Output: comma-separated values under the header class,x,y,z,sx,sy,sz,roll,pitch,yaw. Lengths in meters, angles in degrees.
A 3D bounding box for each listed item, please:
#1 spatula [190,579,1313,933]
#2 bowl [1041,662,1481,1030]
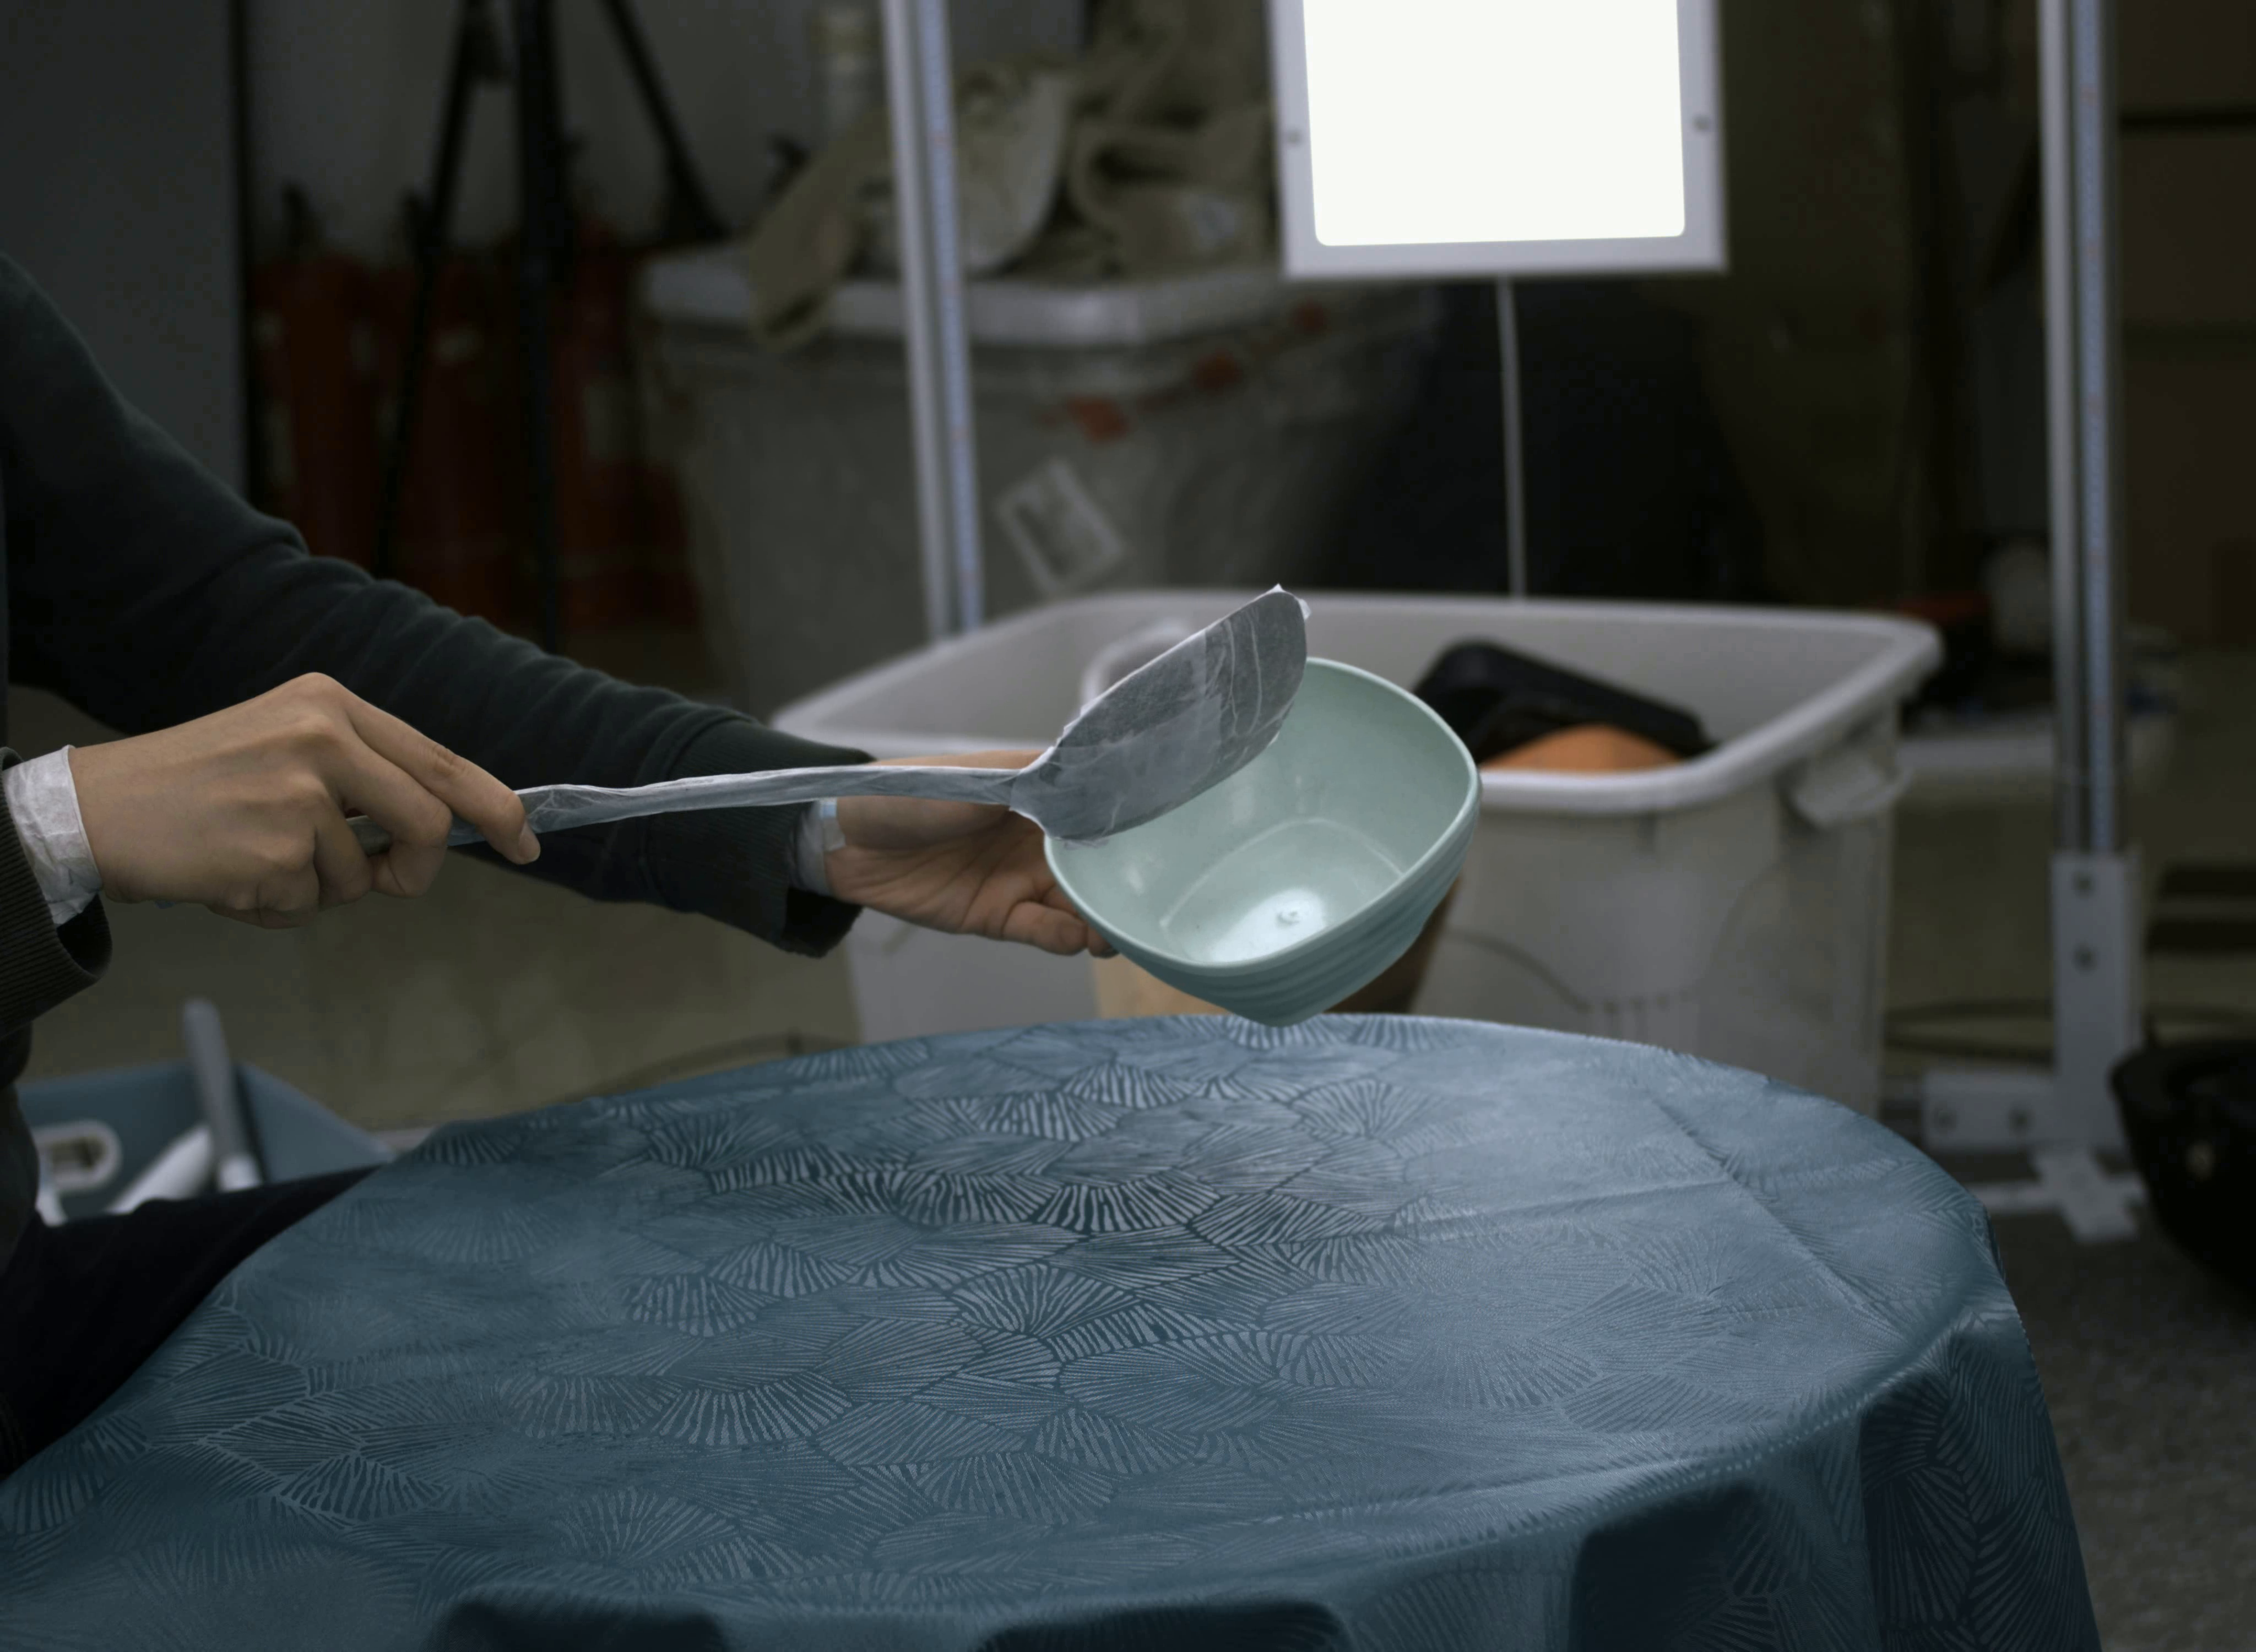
class,x,y,z,sx,sy,sz,roll,pitch,yaw
spatula,-0.113,-0.014,1.716,0.361,0.099,0.045,-7,57,-10
bowl,0.050,0.015,1.862,0.152,0.058,0.151,-11,41,8
